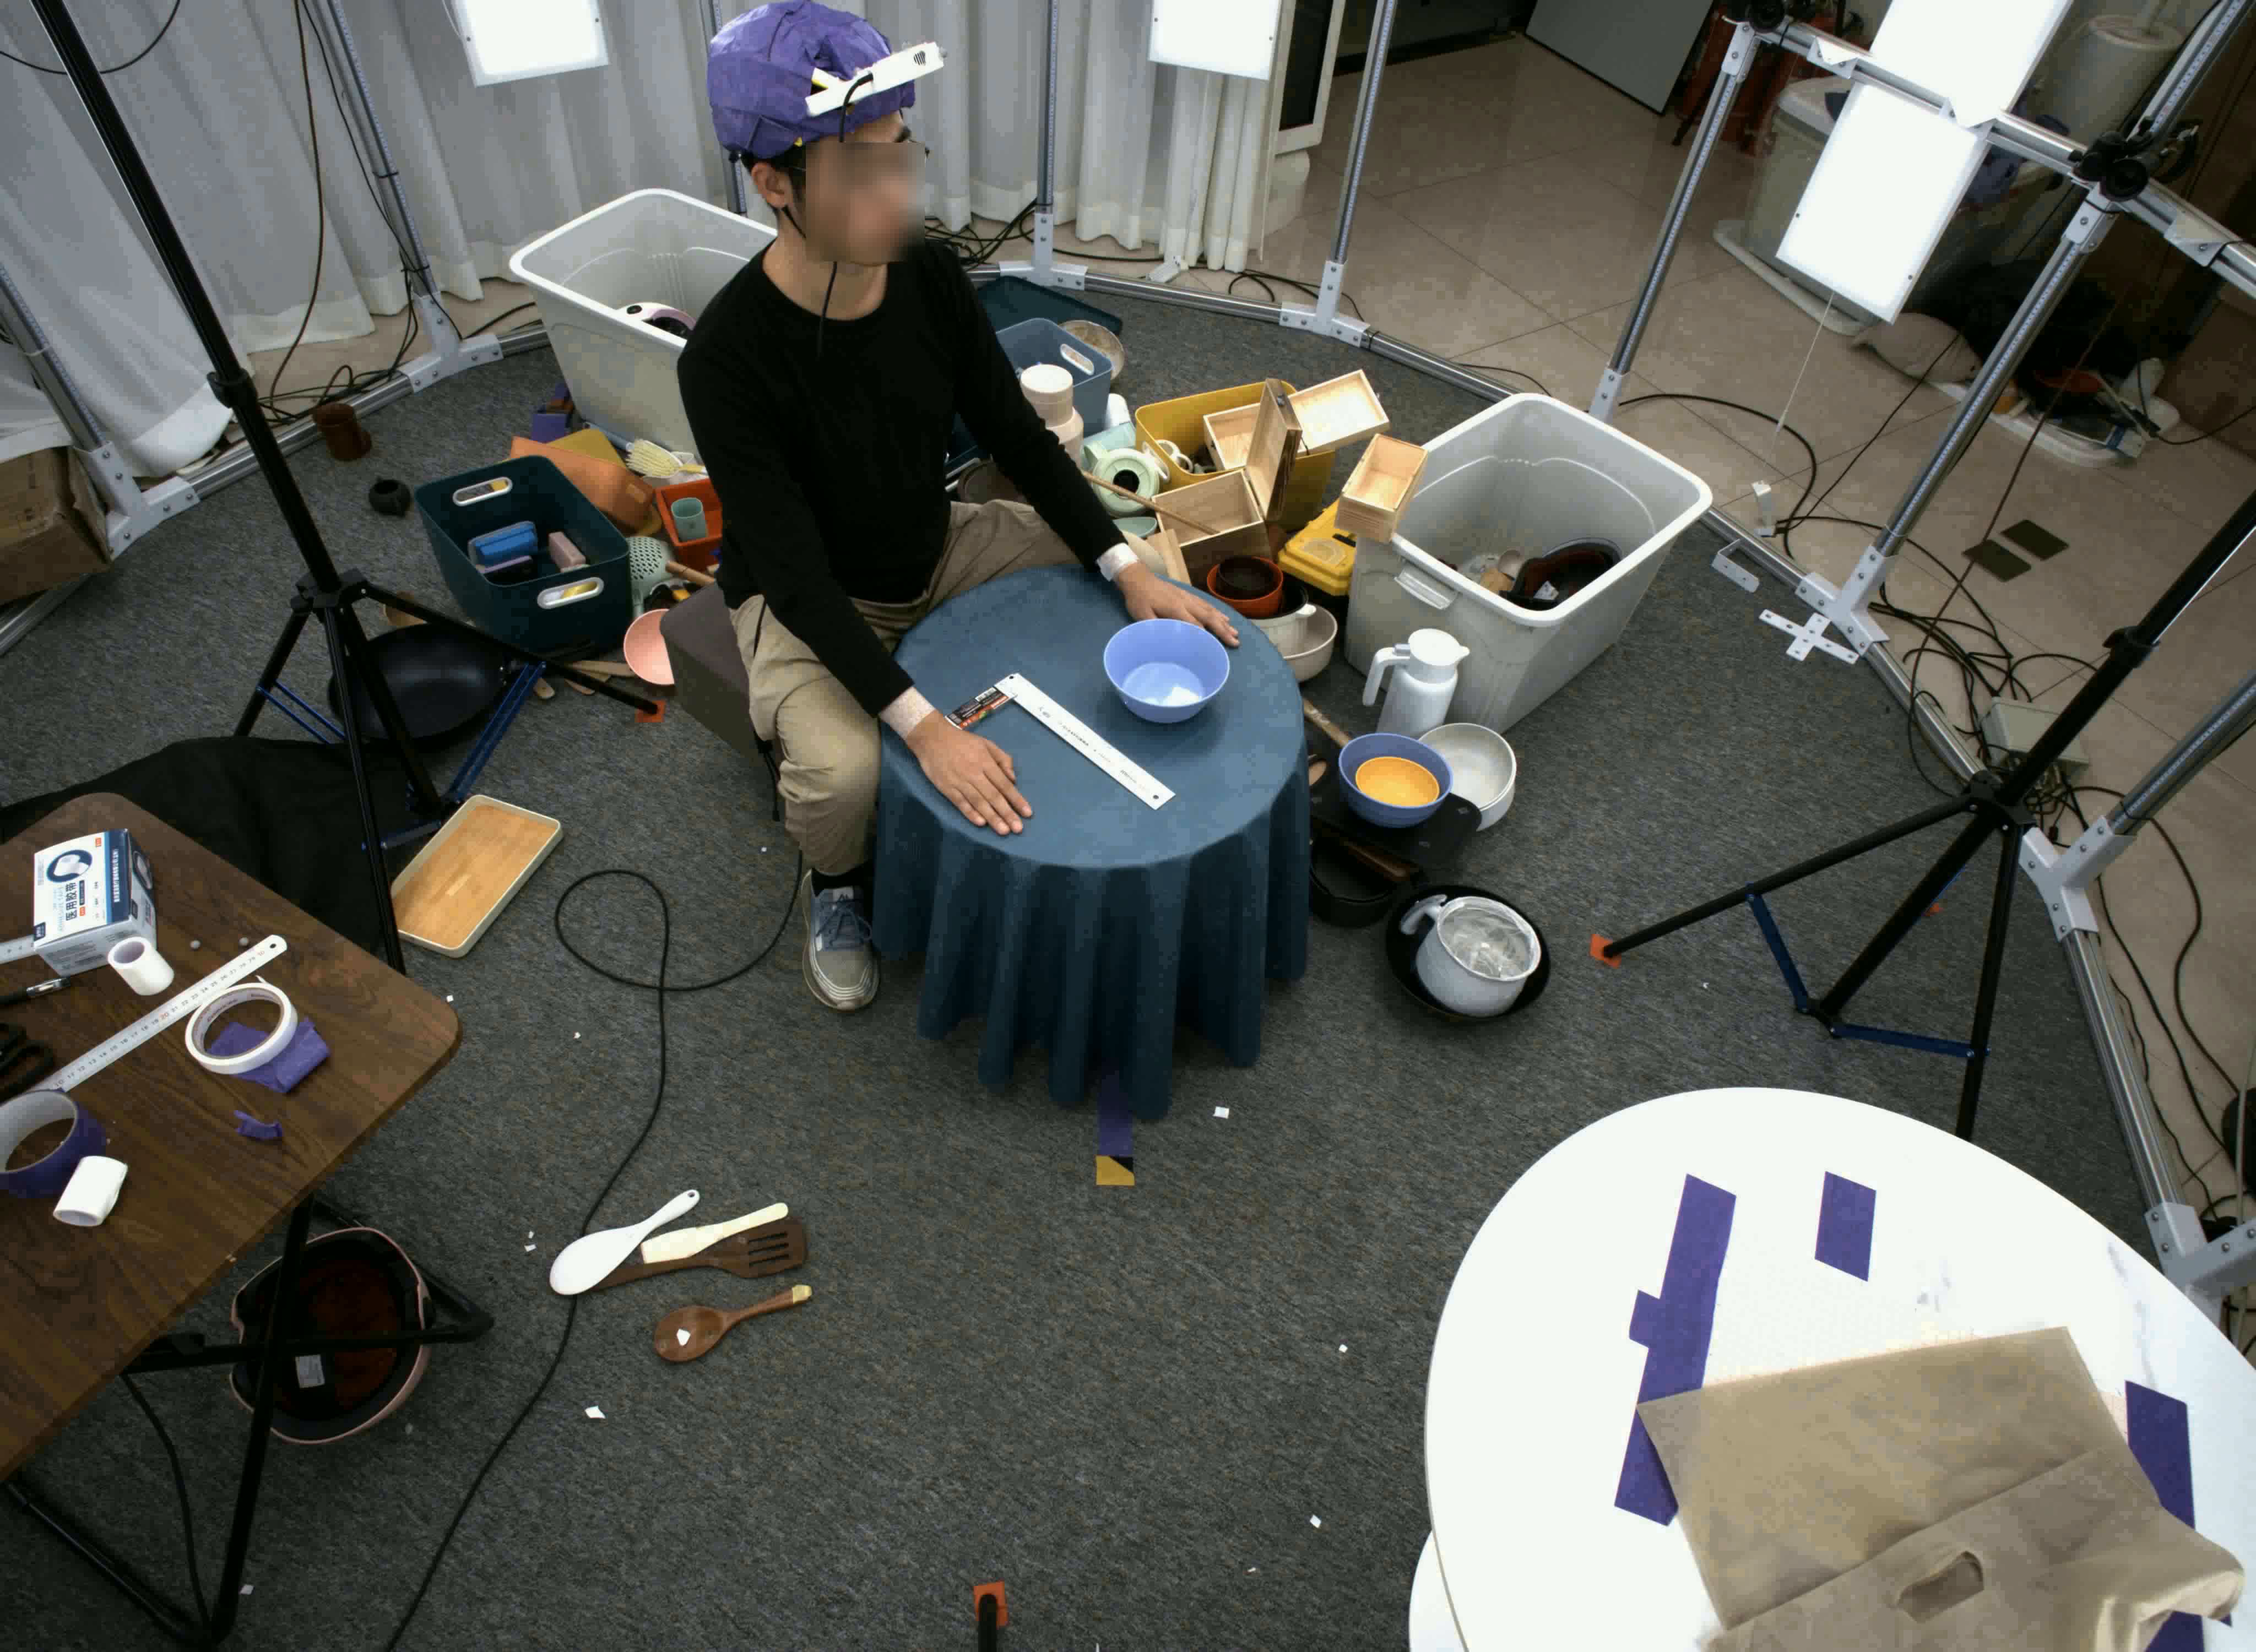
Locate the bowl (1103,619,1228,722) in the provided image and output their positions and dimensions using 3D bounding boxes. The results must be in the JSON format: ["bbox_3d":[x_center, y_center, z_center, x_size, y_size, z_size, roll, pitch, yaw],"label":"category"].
[{"bbox_3d":[0.050,-0.211,1.811,0.176,0.068,0.180,2,50,-2],"label":"bowl"}]

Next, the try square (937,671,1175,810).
[{"bbox_3d":[-0.101,-0.092,1.742,0.317,0.015,0.153,39,61,25],"label":"try square"}]
